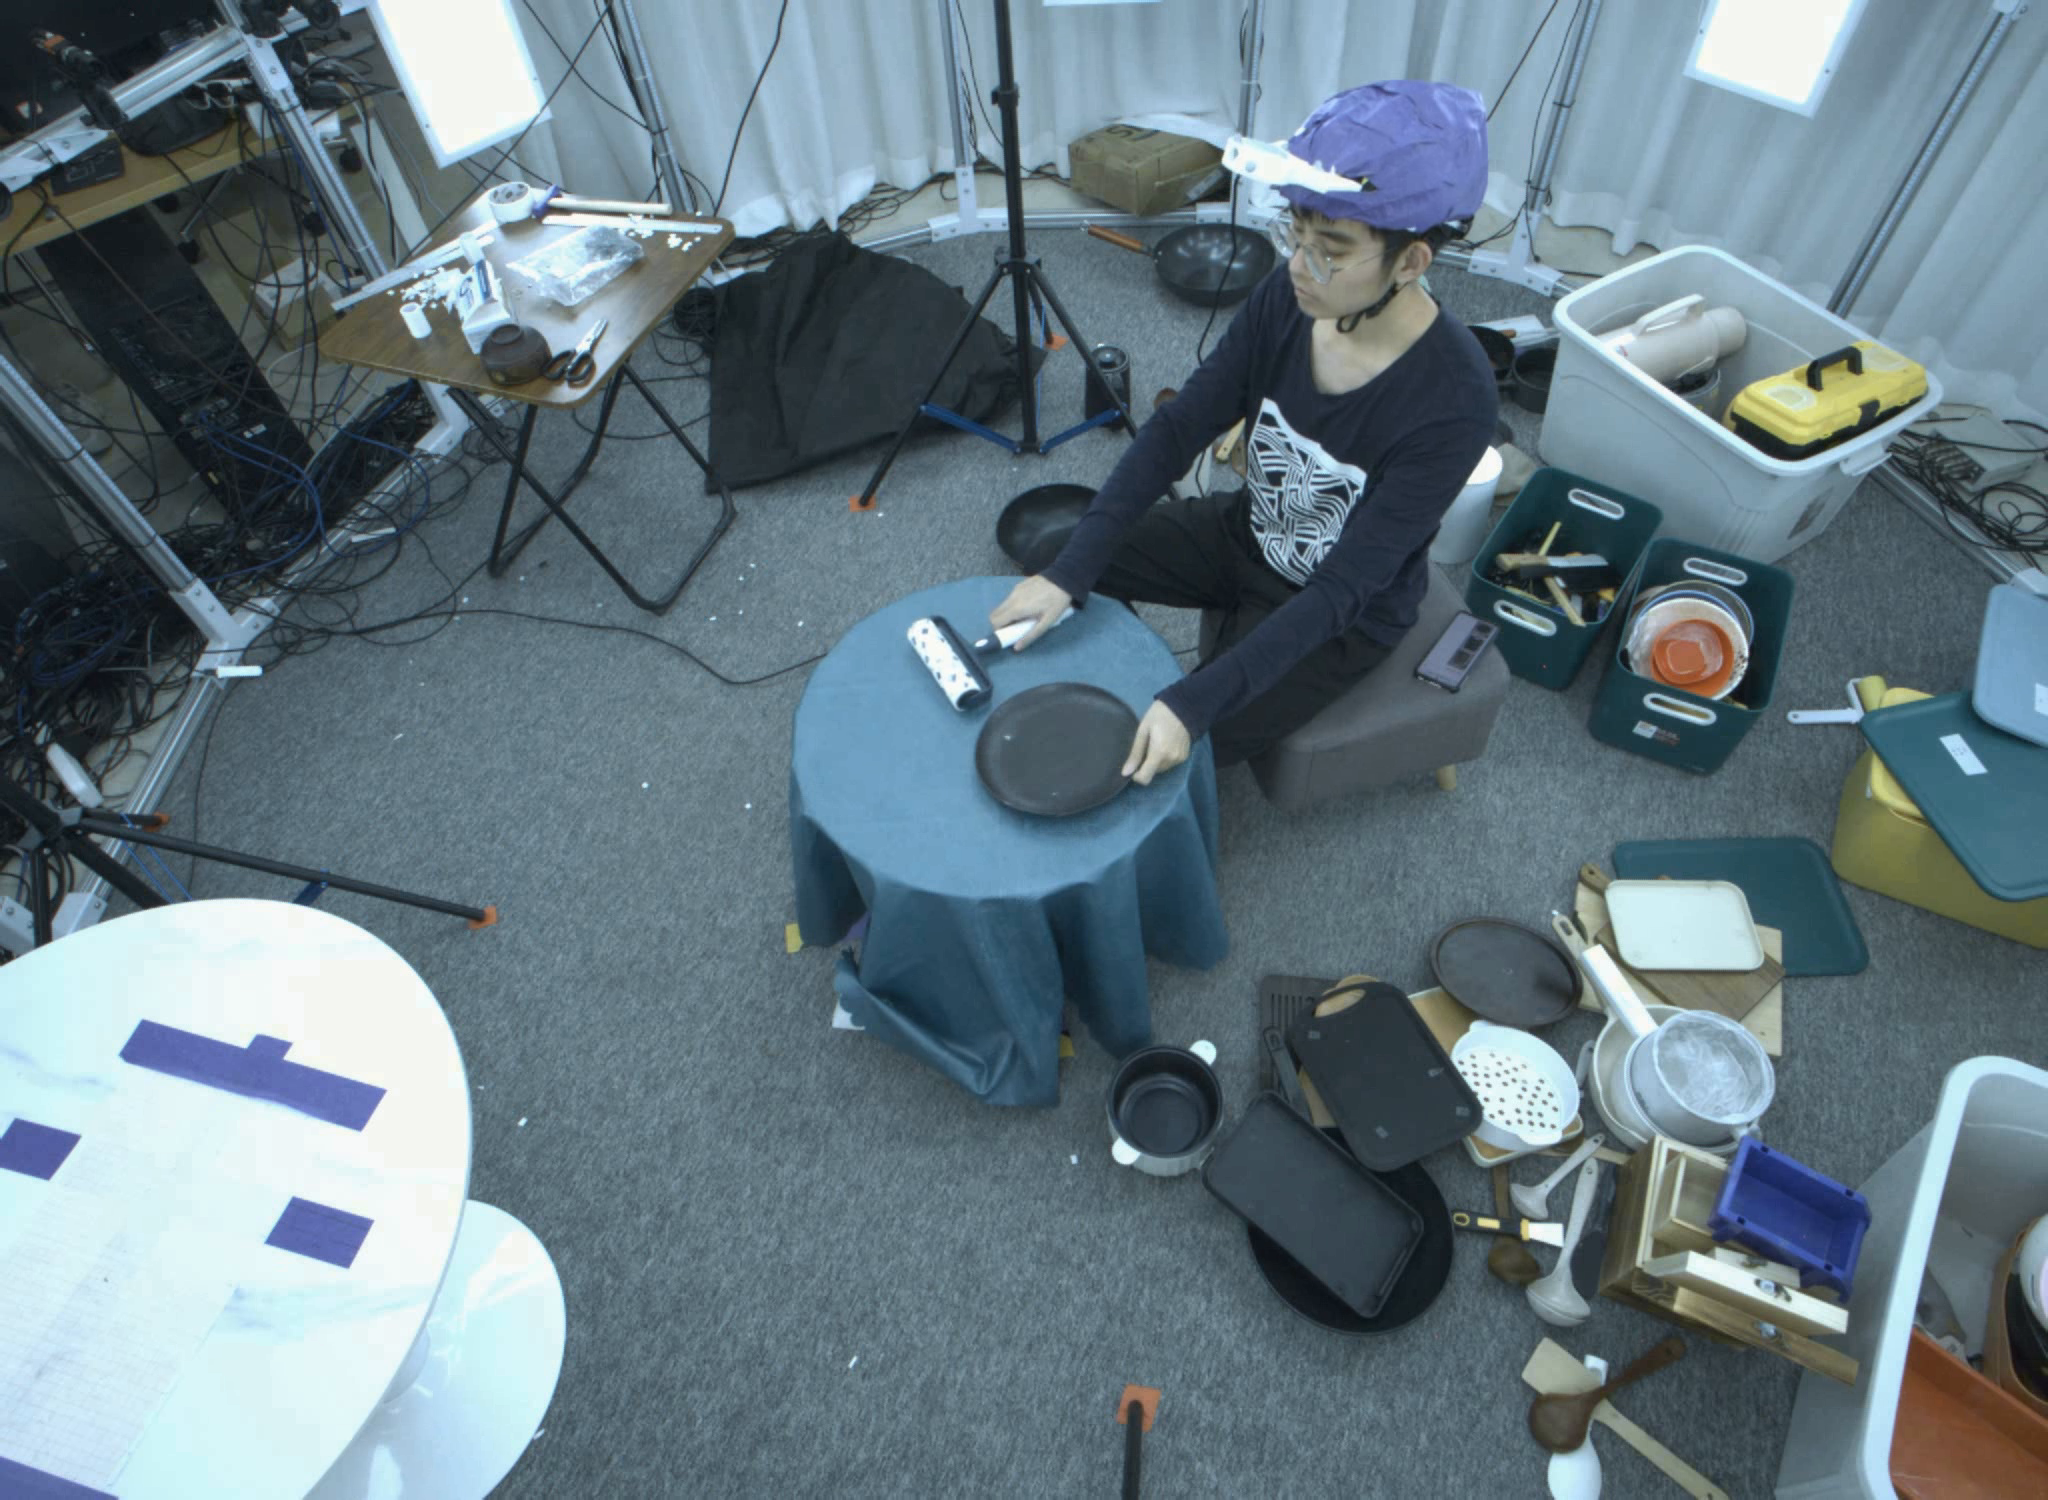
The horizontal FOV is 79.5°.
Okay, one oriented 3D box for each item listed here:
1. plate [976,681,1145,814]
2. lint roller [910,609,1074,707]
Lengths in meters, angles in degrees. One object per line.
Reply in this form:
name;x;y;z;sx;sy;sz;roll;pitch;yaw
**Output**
plate;0.052;-0.002;1.772;0.243;0.024;0.242;-3;52;5
lint roller;-0.033;-0.174;1.893;0.249;0.051;0.173;-25;57;-18
